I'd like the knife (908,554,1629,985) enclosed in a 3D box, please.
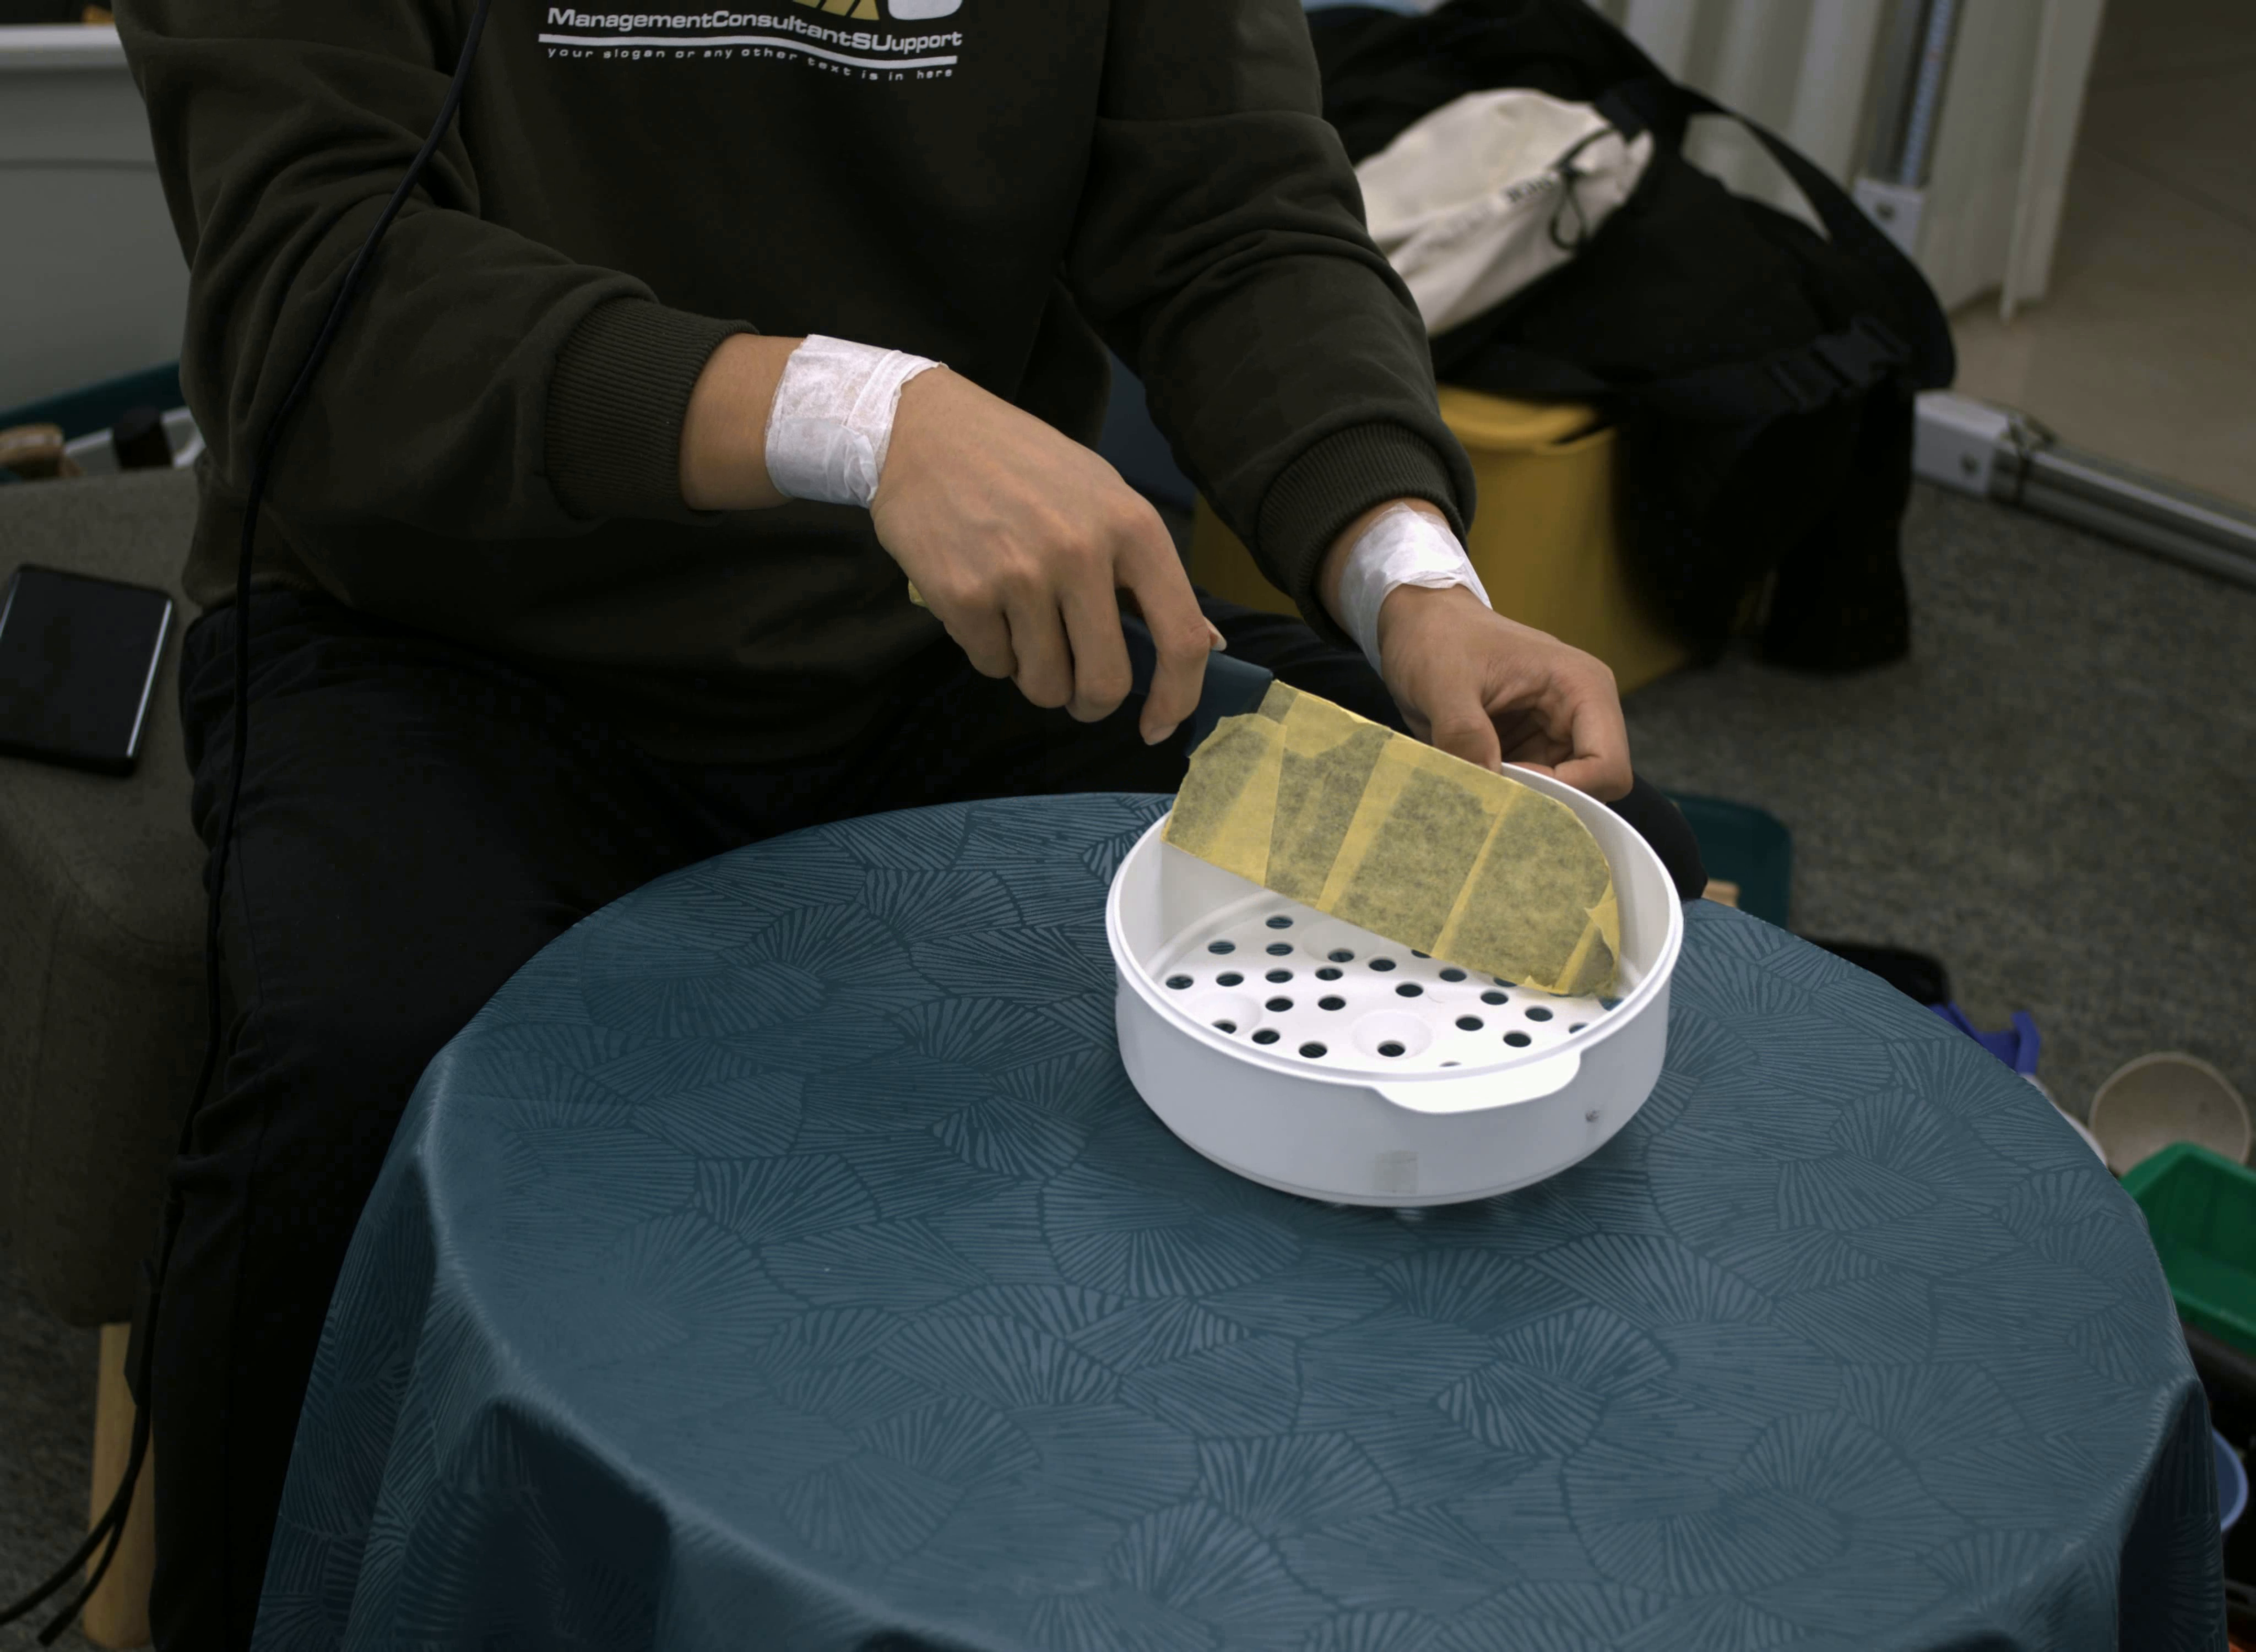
[{"bbox_3d":[0.047,-0.019,1.889,0.289,0.081,0.027,26,13,-1],"label":"knife"}]

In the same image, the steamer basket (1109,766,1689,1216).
[{"bbox_3d":[0.094,0.057,1.862,0.201,0.069,0.232,-8,33,-11],"label":"steamer basket"}]
